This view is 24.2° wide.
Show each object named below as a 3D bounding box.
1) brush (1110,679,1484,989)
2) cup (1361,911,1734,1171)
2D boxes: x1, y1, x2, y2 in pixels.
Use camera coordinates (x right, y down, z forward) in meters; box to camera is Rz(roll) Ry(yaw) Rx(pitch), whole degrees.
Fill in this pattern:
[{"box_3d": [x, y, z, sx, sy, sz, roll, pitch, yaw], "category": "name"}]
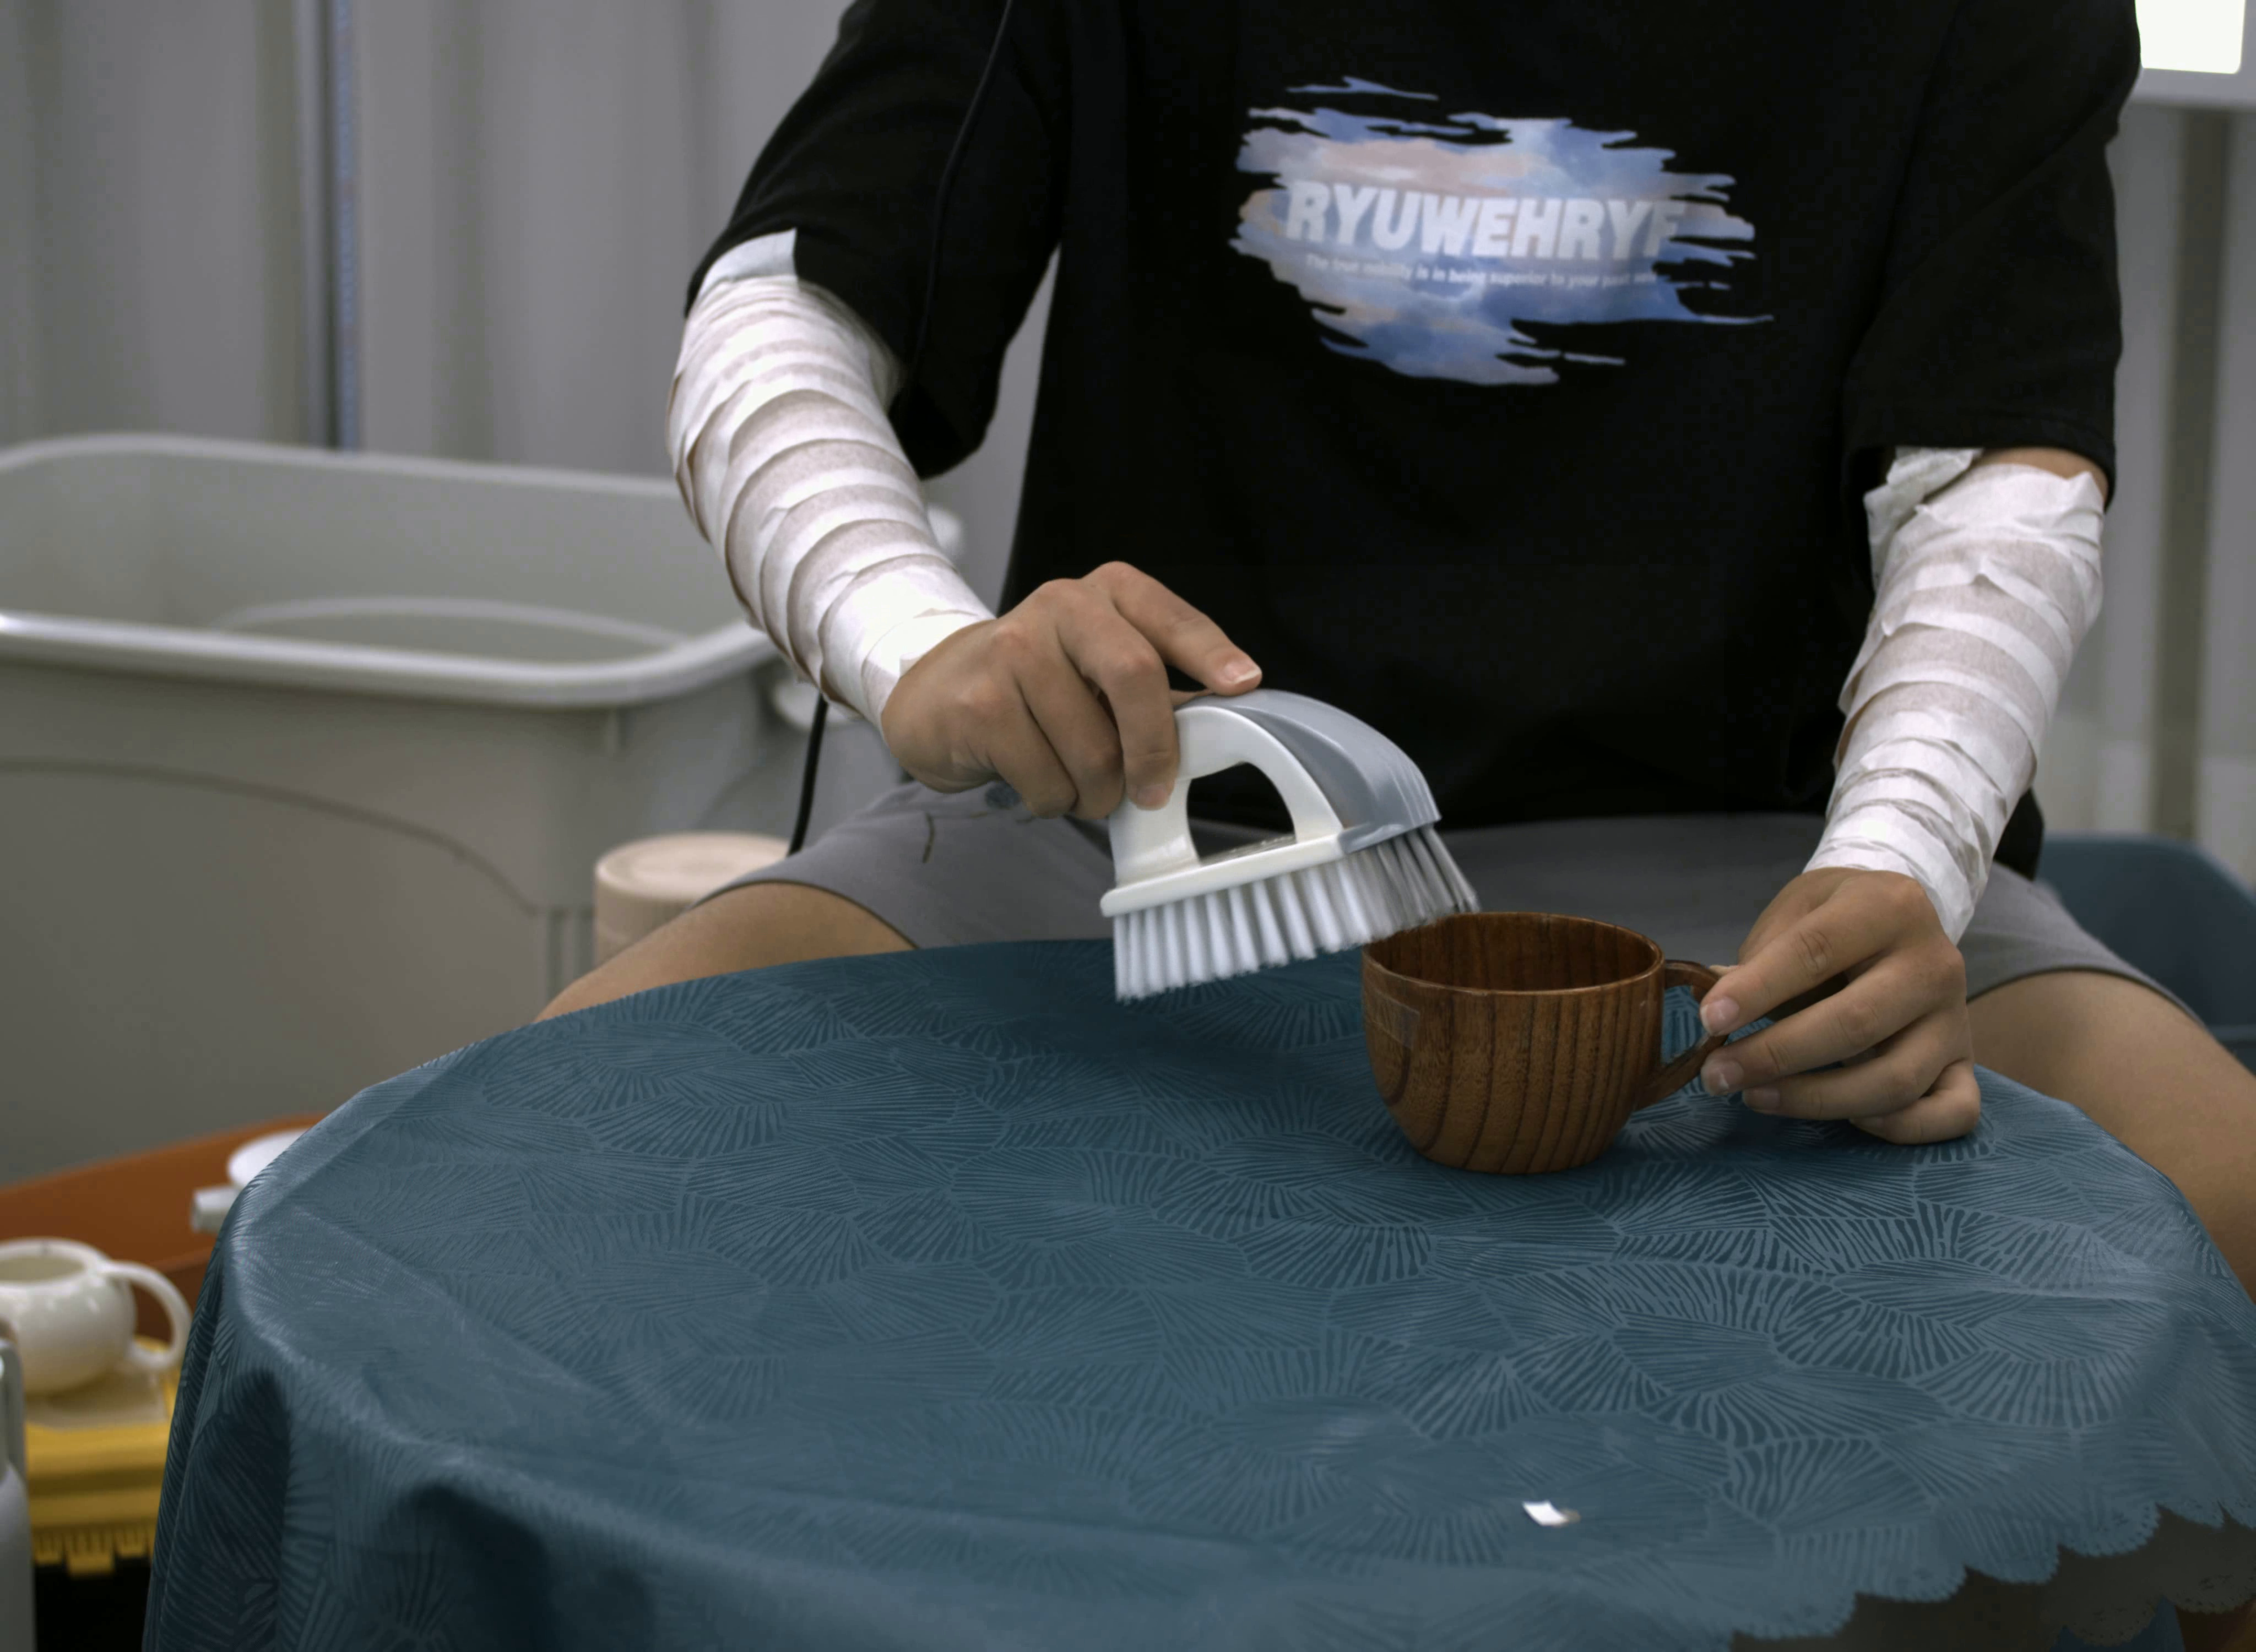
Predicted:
[{"box_3d": [0.050, -0.004, 1.698, 0.061, 0.095, 0.174, -25, 7, -31], "category": "brush"}, {"box_3d": [0.132, 0.069, 1.661, 0.119, 0.068, 0.095, 1, 13, -5], "category": "cup"}]
